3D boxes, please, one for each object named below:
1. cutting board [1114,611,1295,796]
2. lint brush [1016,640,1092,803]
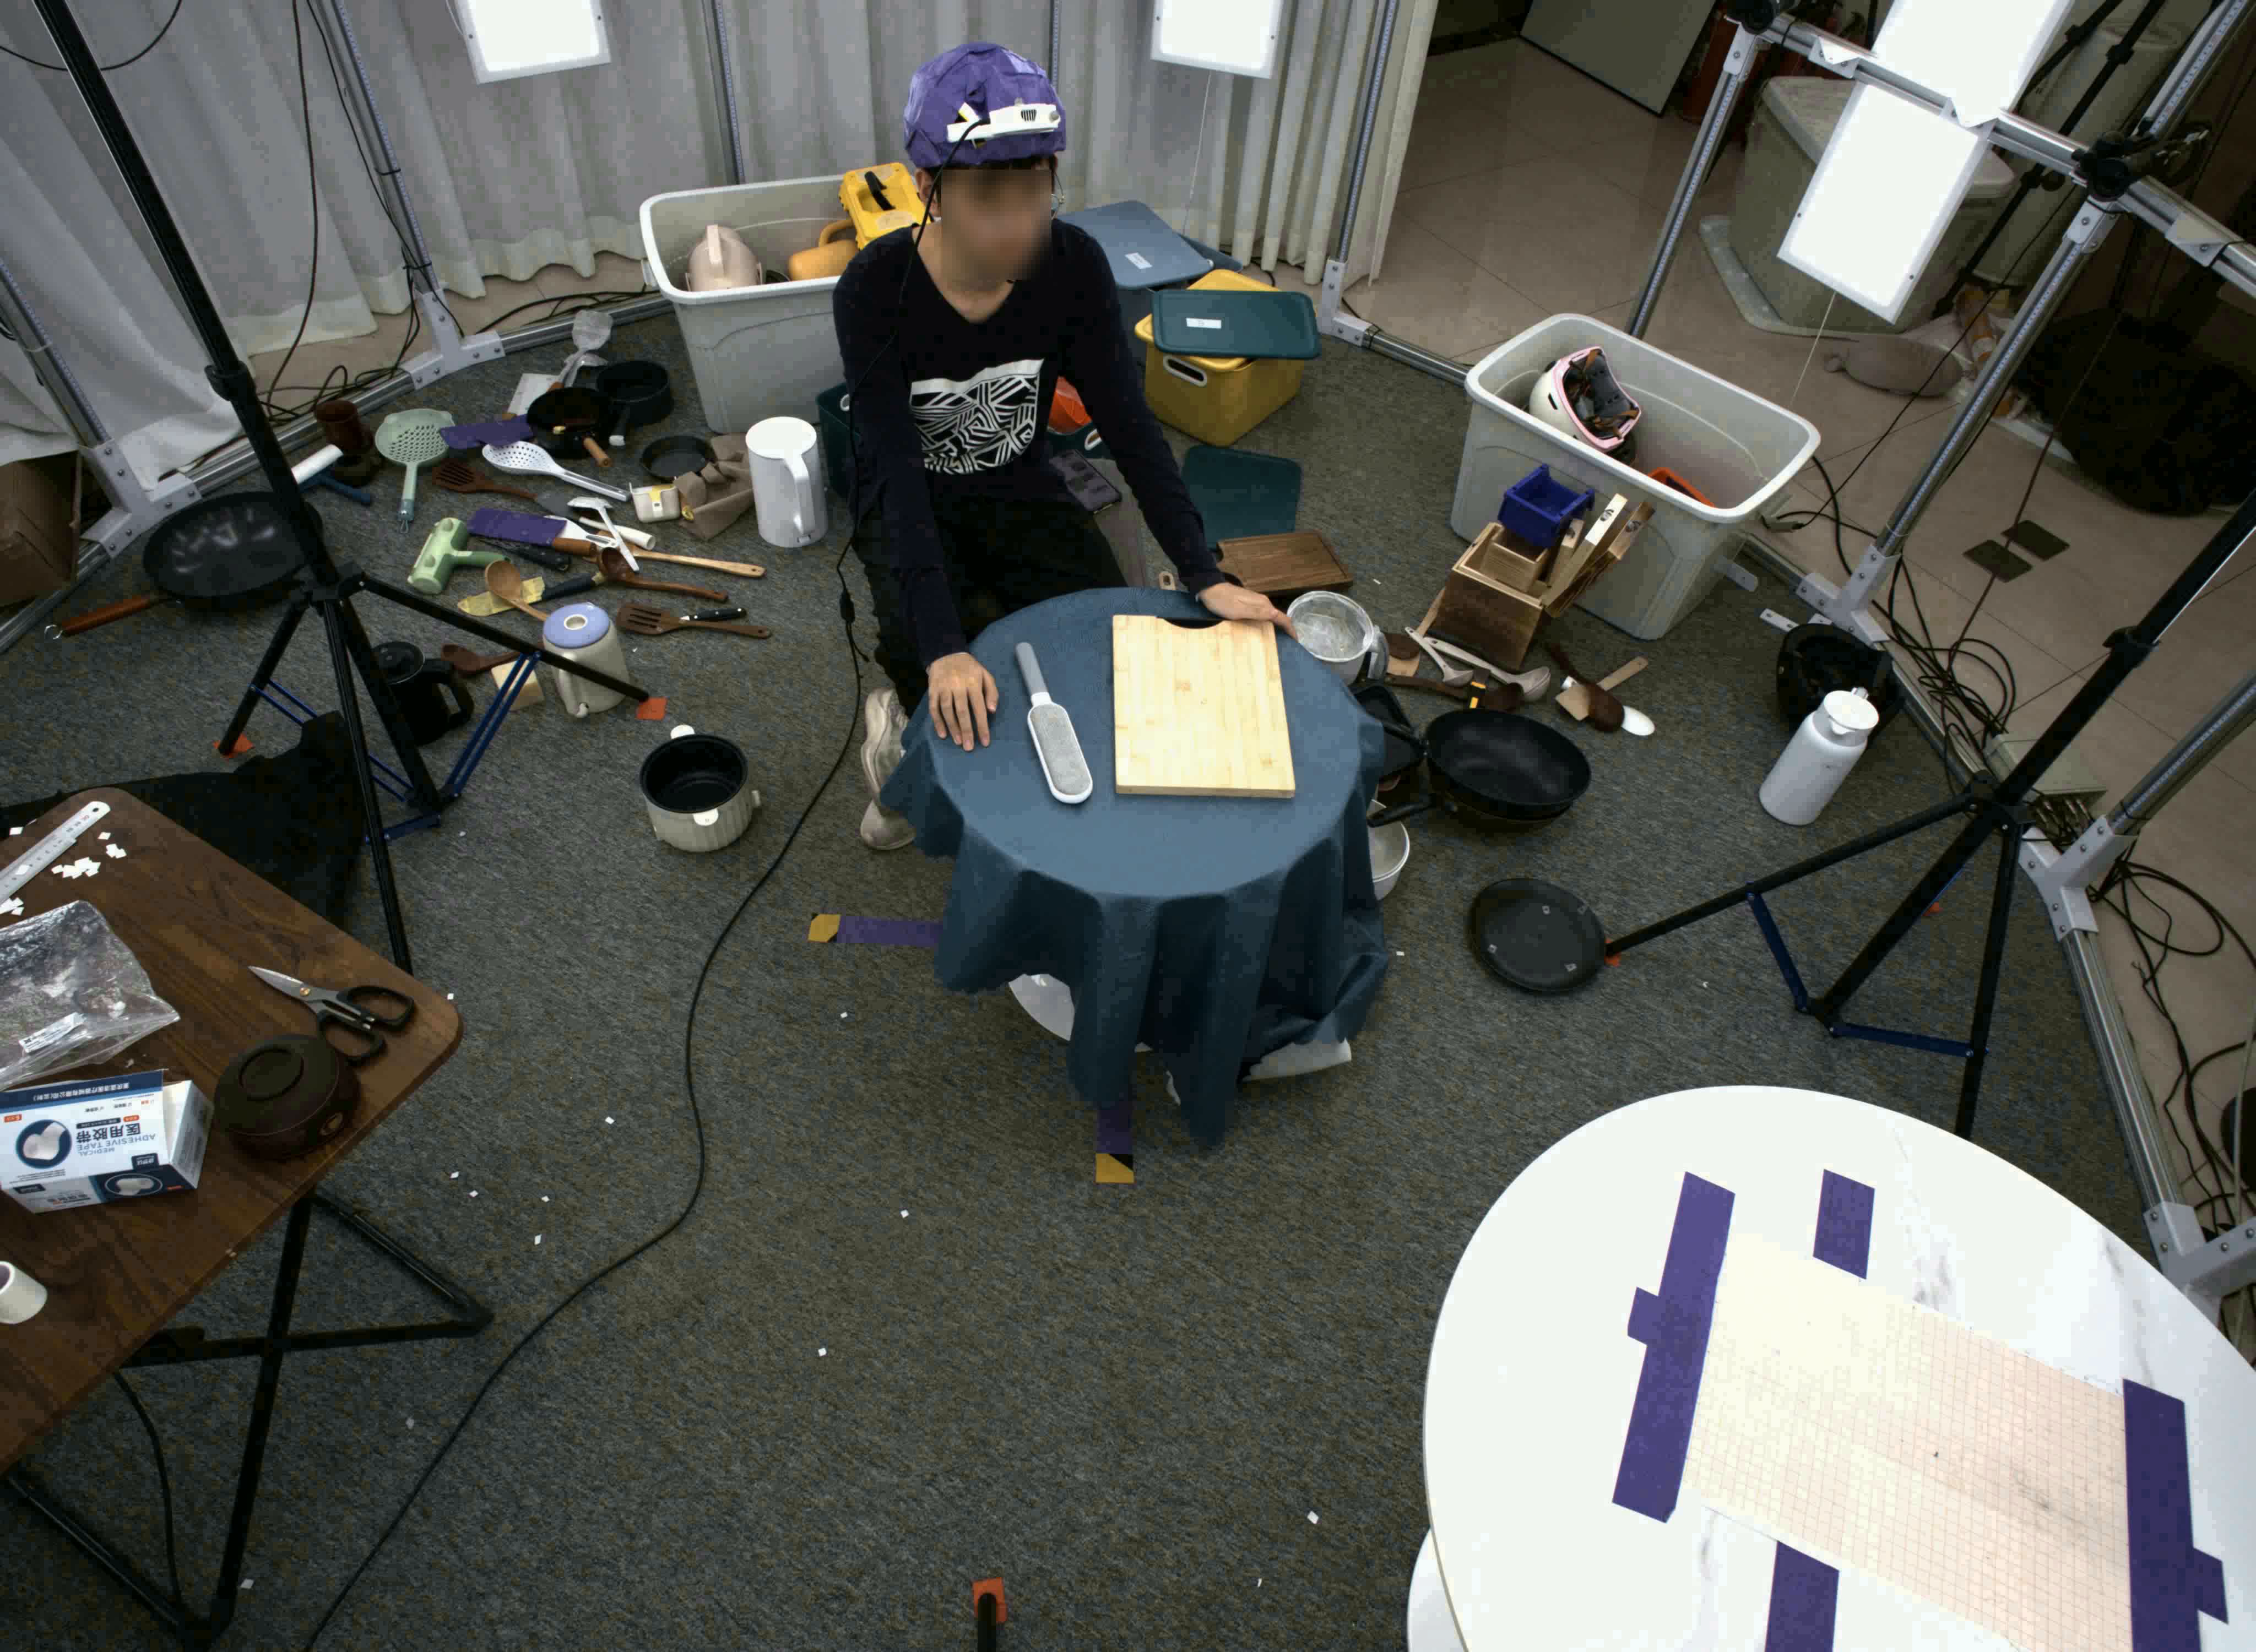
[{"bbox_3d":[0.101,-0.180,1.820,0.250,0.023,0.357,1,49,-4],"label":"cutting board"},{"bbox_3d":[-0.109,-0.150,1.773,0.060,0.020,0.316,-13,51,-8],"label":"lint brush"}]
